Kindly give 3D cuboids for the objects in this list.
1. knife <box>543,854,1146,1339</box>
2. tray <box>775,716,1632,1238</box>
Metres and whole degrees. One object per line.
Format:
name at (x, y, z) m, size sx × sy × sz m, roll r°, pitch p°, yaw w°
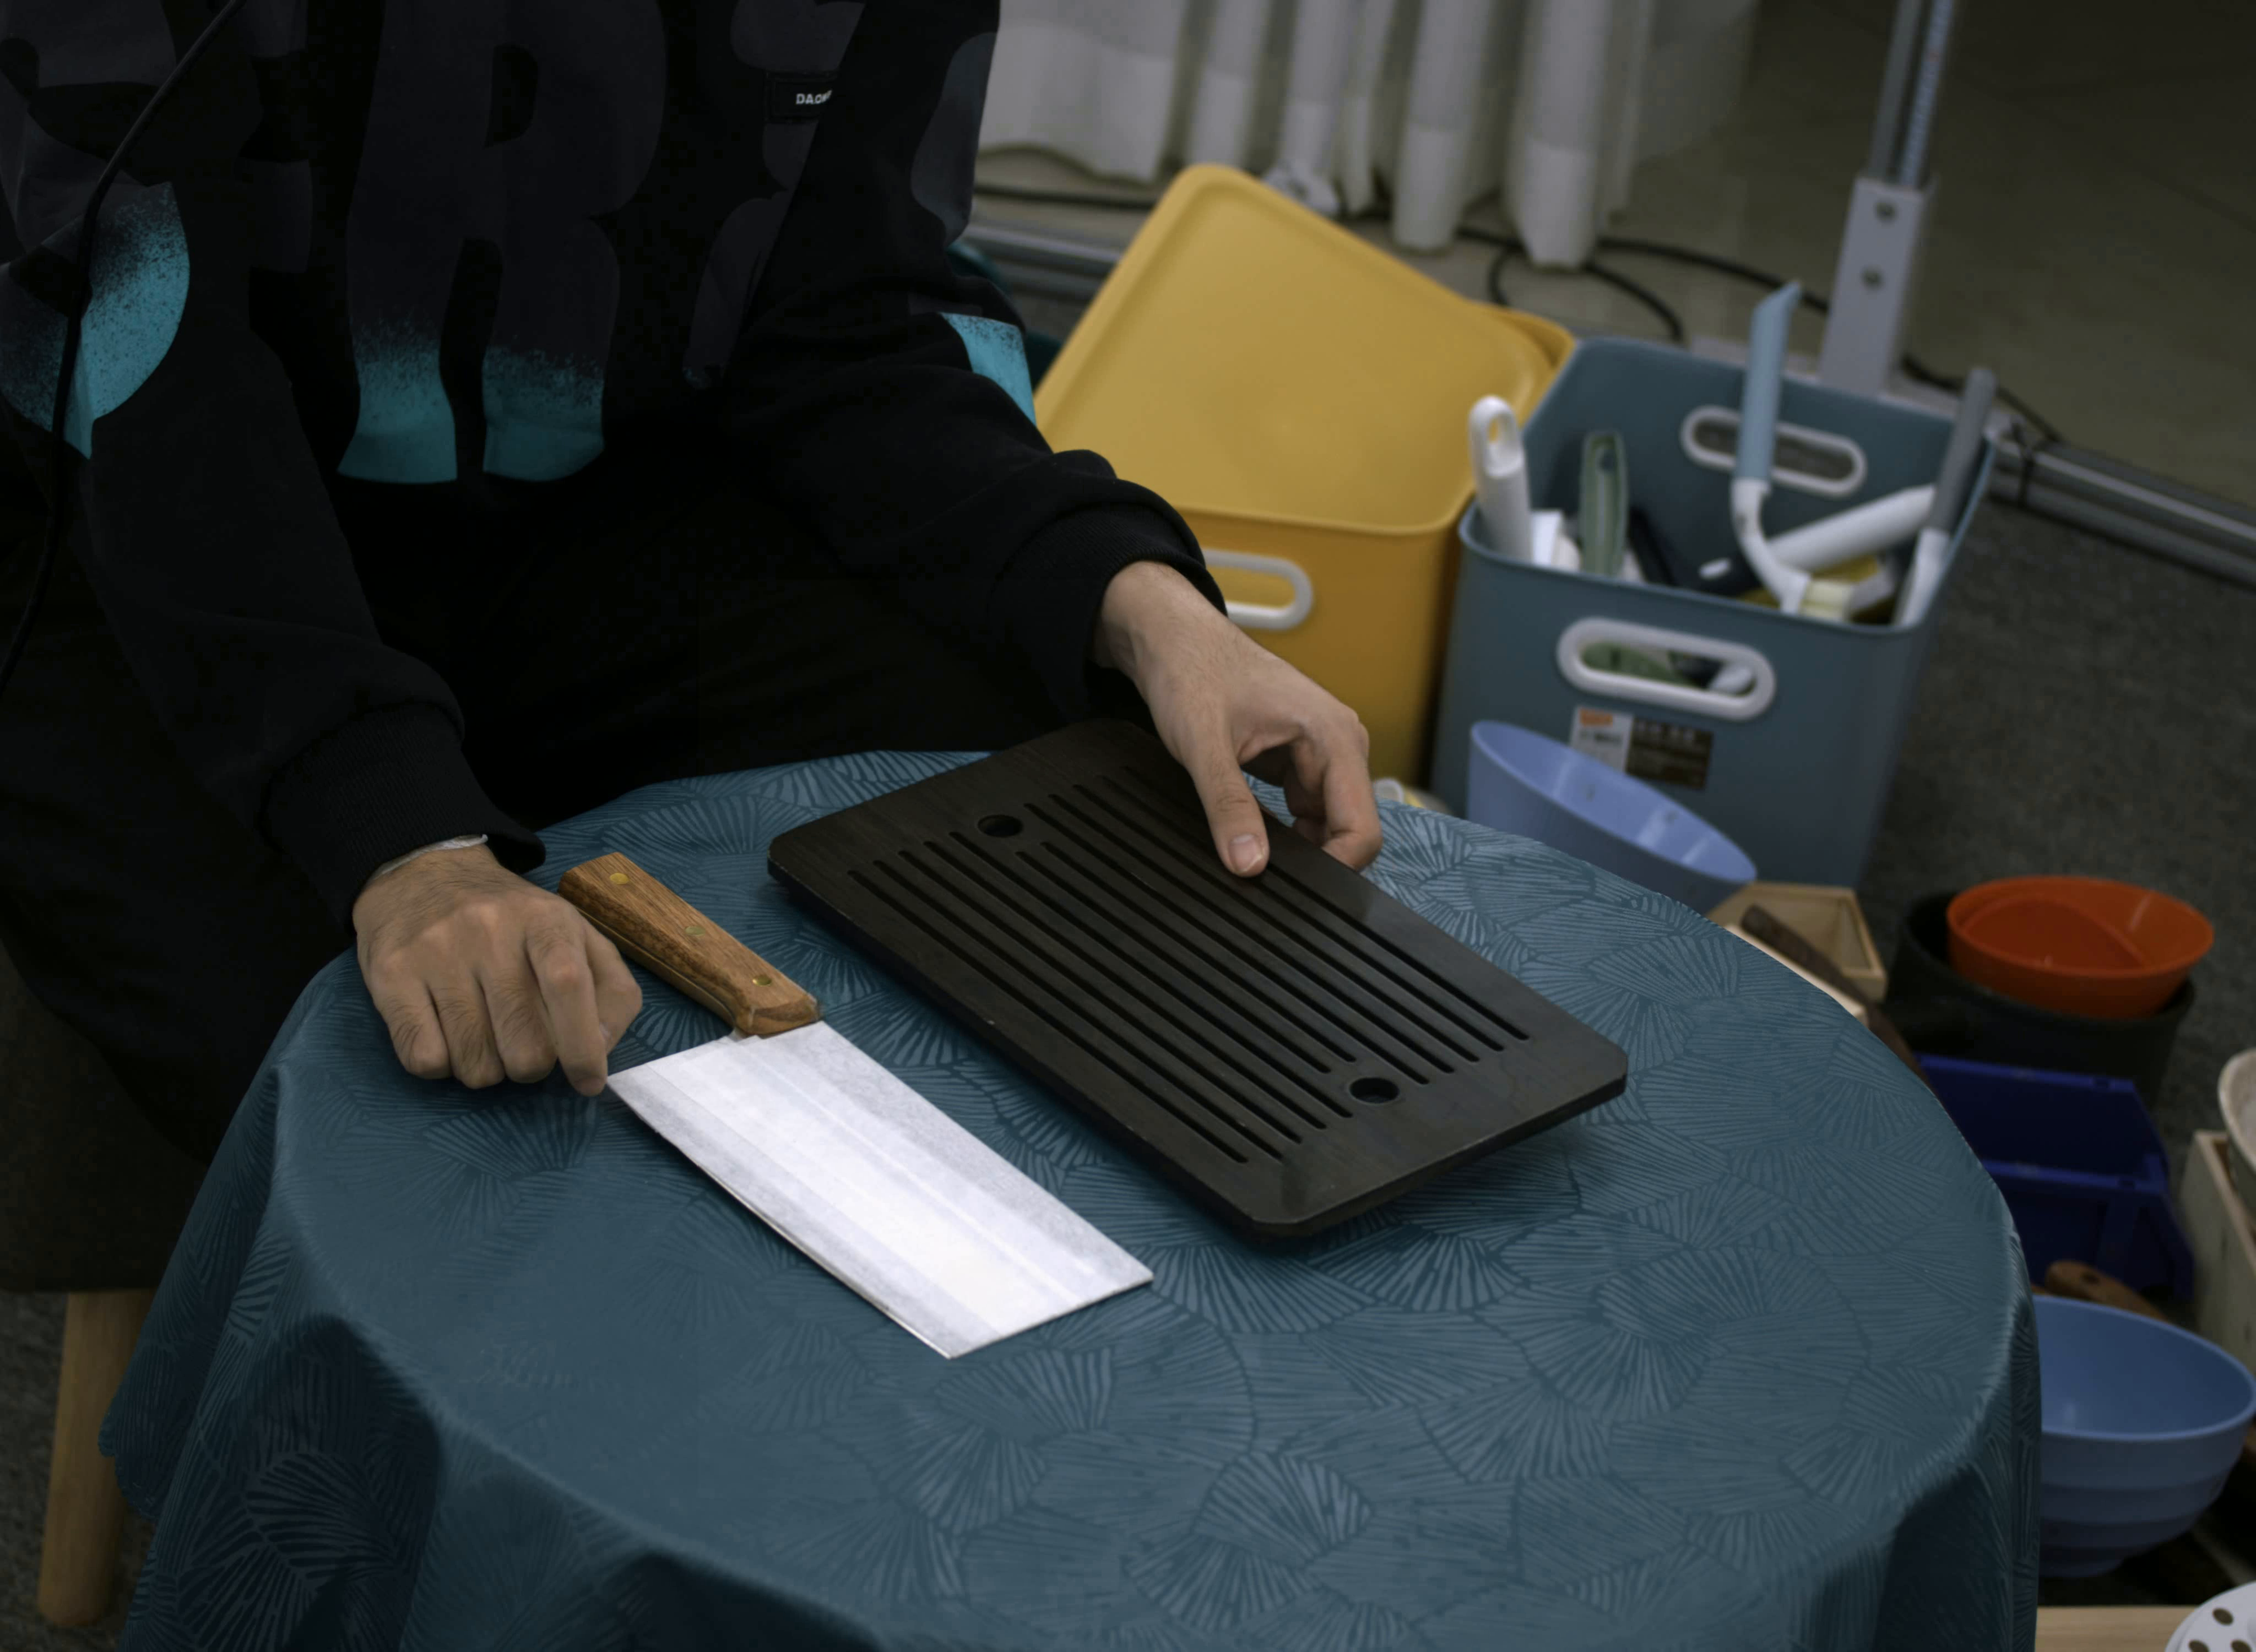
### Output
knife at (-0.121, 0.092, 1.821) m, size 0.092 × 0.021 × 0.308 m, roll -18°, pitch 38°, yaw -37°
tray at (0.022, 0.051, 1.912) m, size 0.169 × 0.018 × 0.308 m, roll -20°, pitch 37°, yaw -31°
